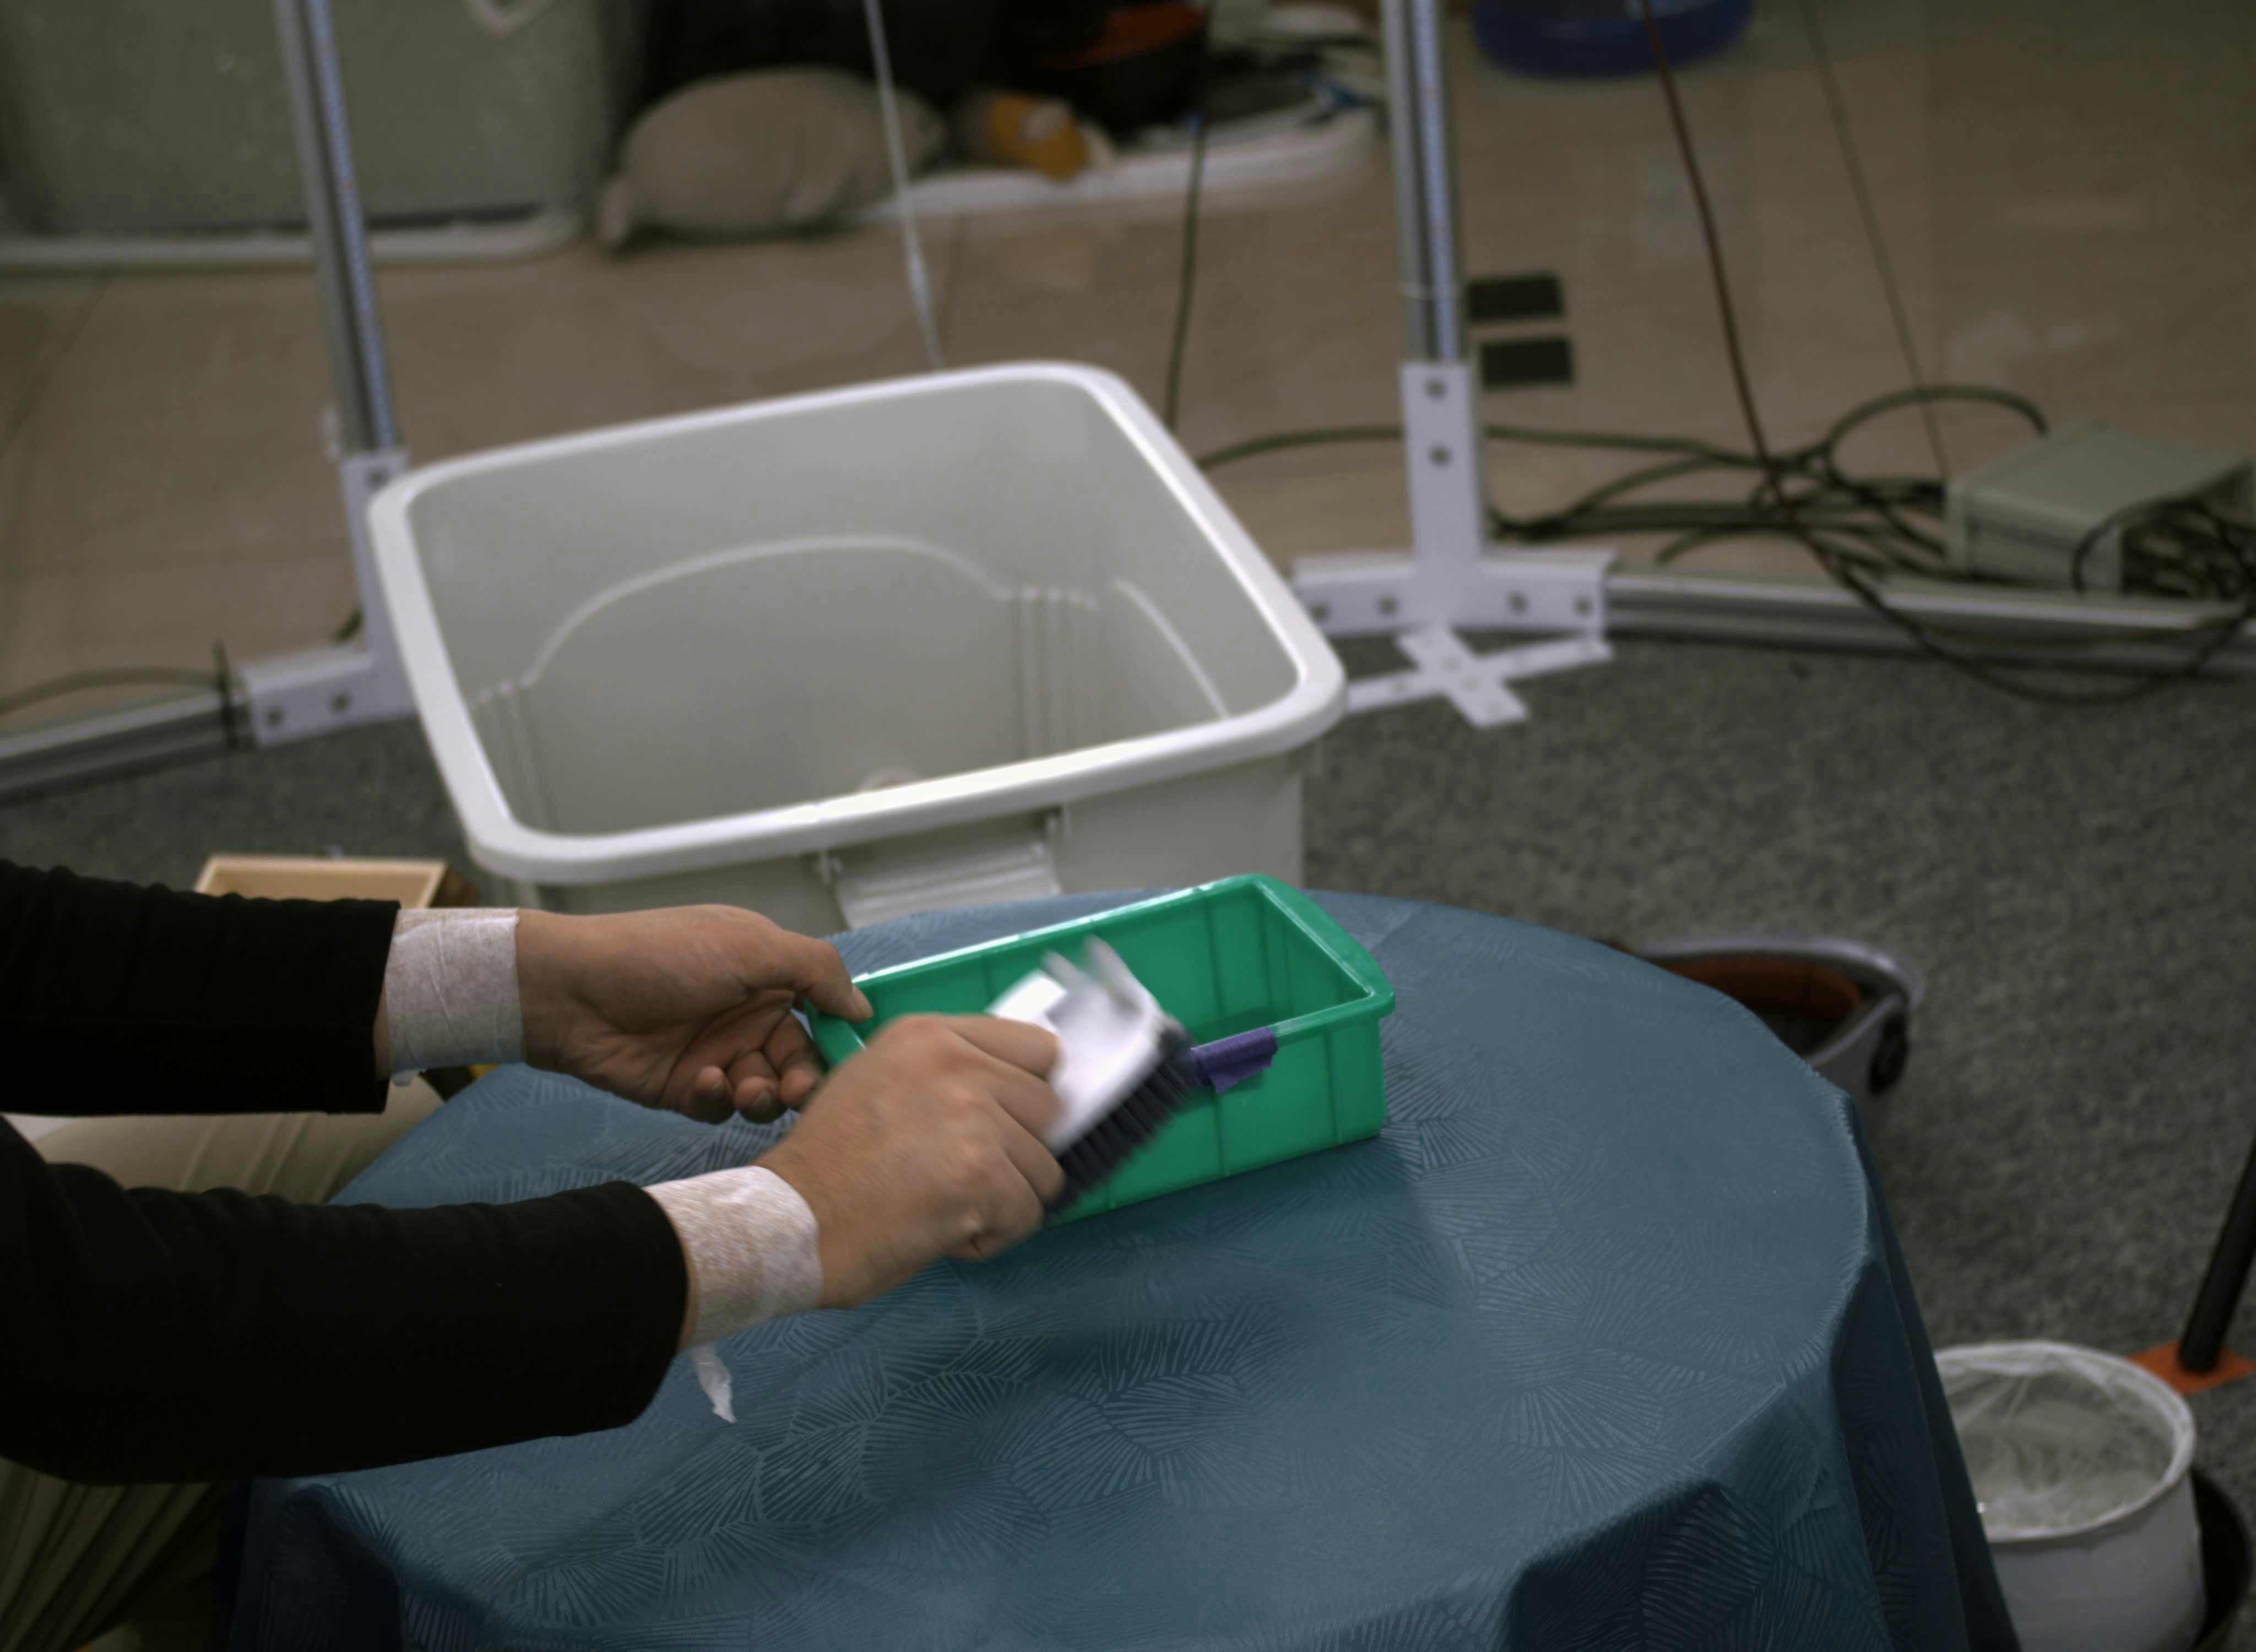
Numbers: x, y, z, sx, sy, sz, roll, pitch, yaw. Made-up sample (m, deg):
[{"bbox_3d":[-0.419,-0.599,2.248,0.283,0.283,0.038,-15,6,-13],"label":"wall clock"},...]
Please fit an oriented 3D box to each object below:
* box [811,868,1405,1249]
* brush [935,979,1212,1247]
[{"bbox_3d":[-0.006,0.090,2.180,0.209,0.066,0.137,-14,28,-18],"label":"box"},{"bbox_3d":[-0.024,0.095,2.018,0.099,0.074,0.049,-35,45,-10],"label":"brush"}]
